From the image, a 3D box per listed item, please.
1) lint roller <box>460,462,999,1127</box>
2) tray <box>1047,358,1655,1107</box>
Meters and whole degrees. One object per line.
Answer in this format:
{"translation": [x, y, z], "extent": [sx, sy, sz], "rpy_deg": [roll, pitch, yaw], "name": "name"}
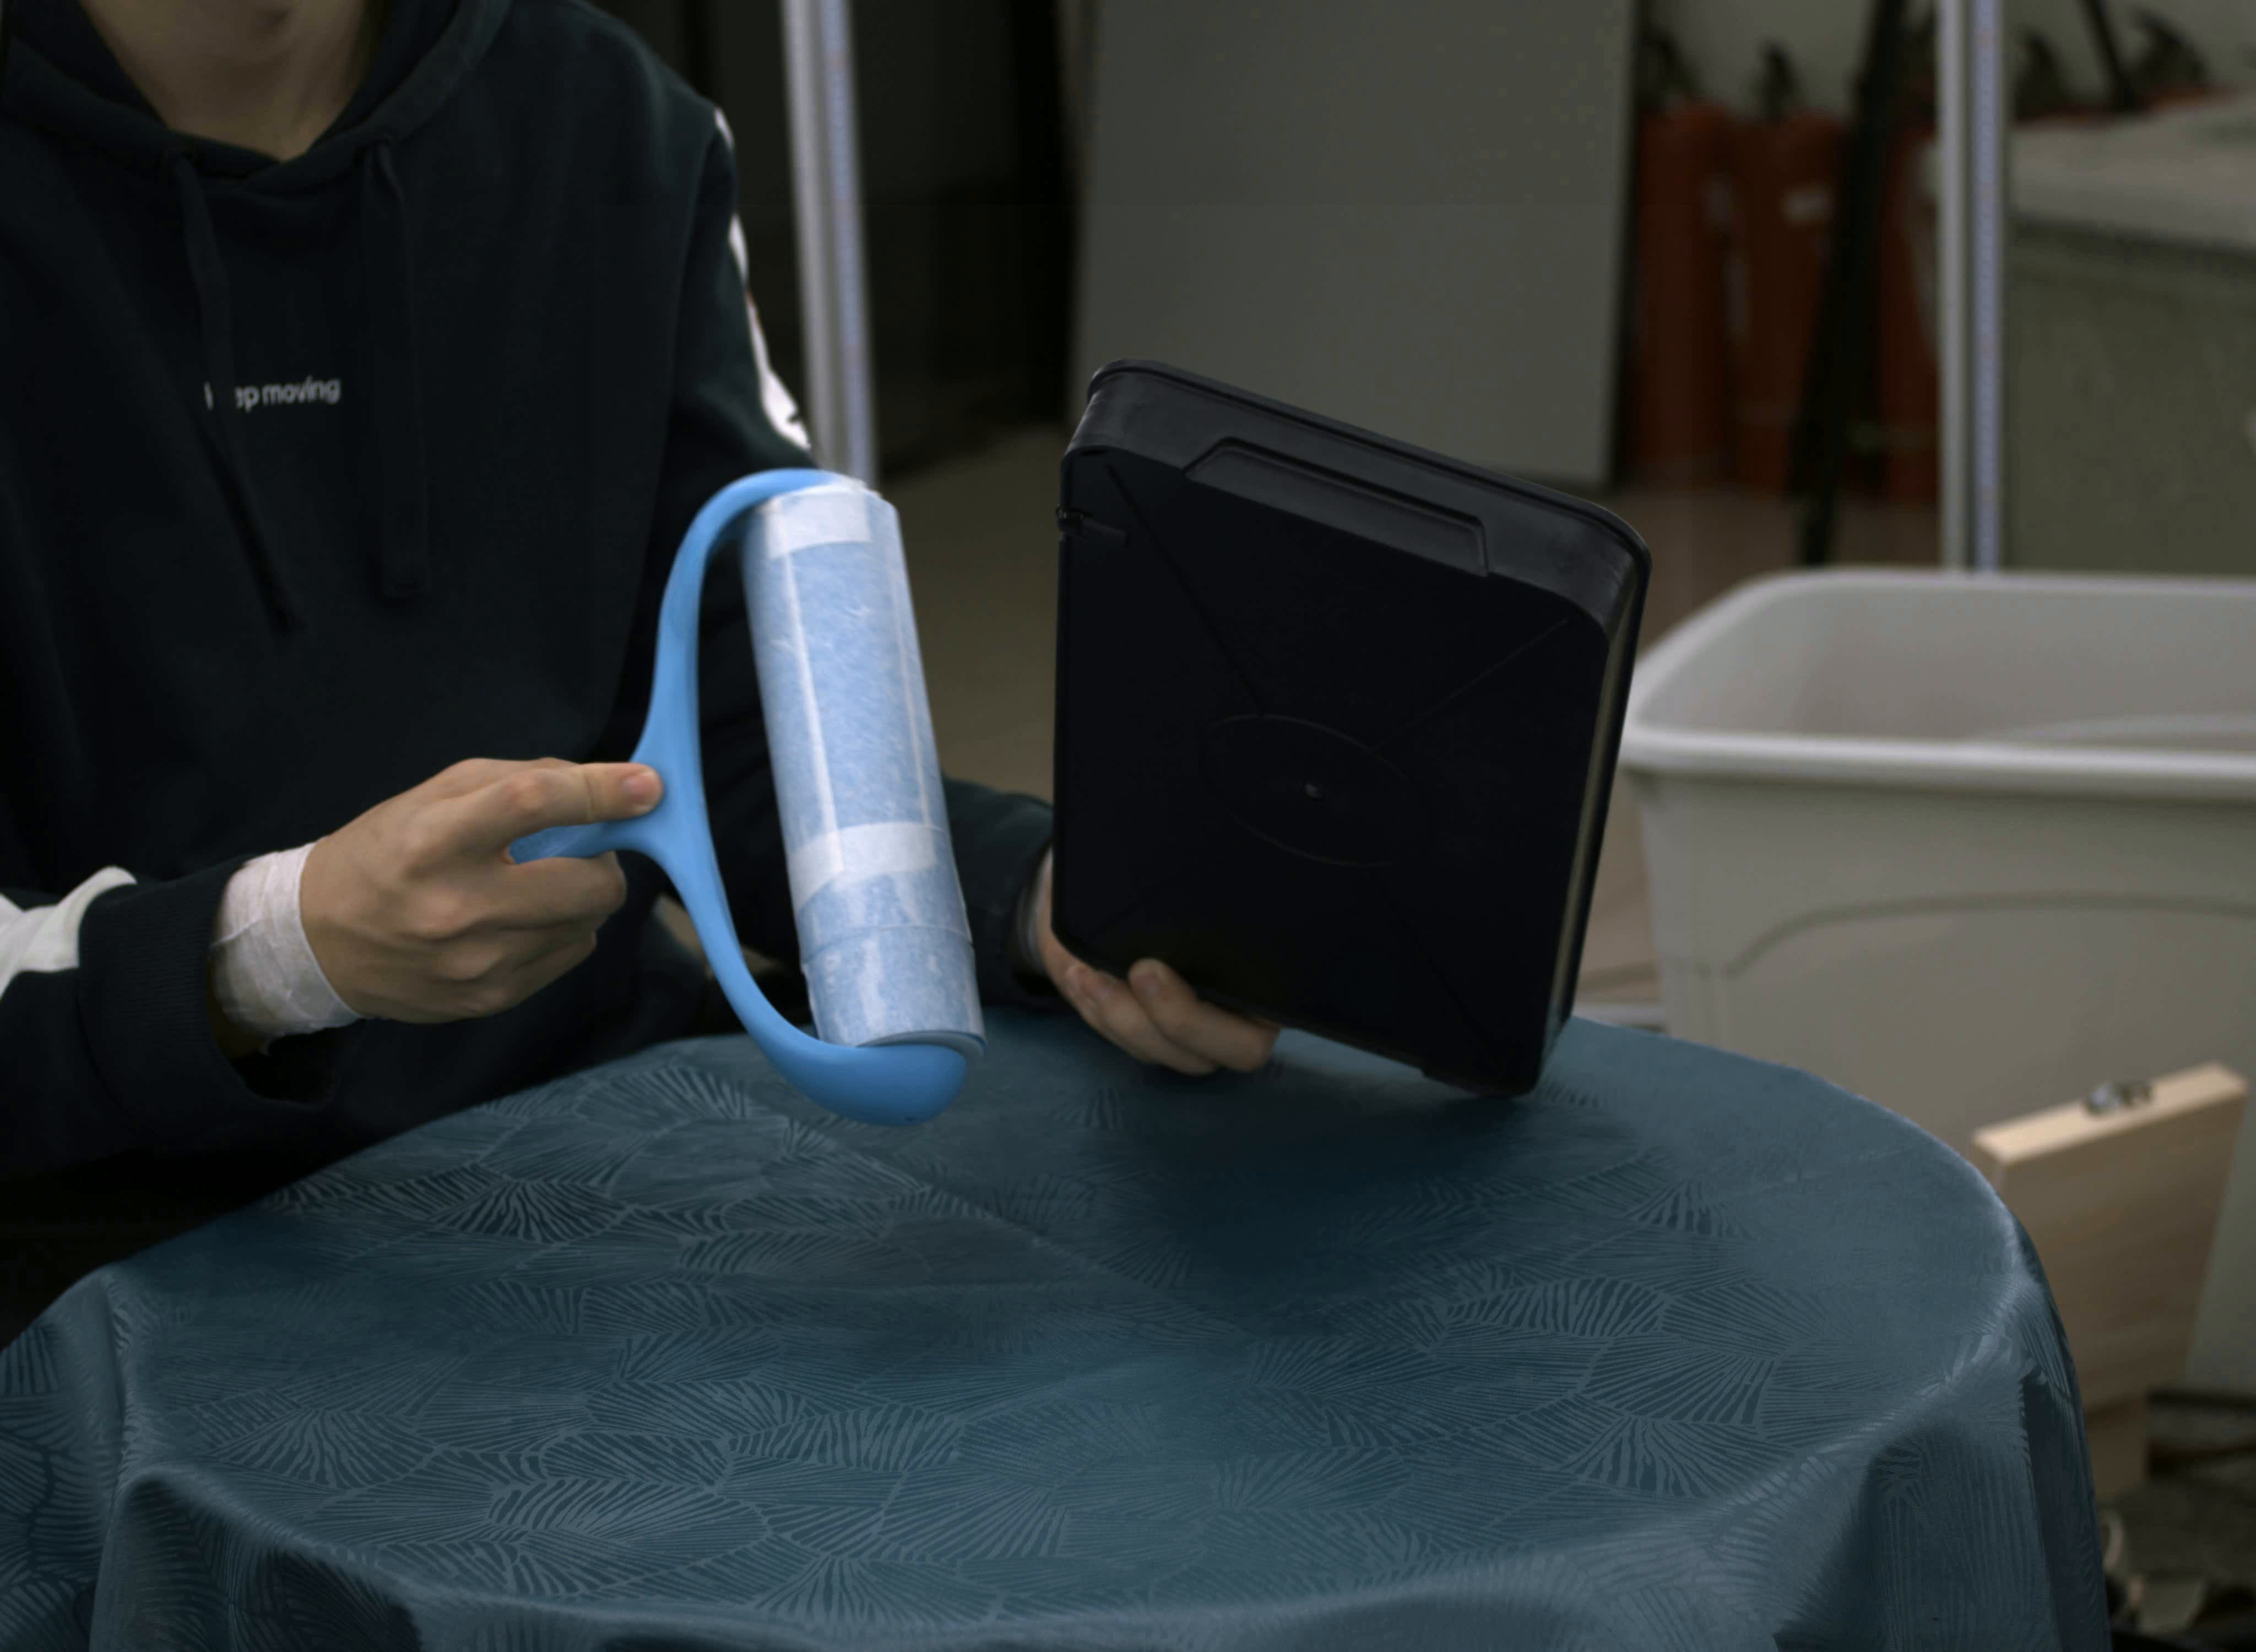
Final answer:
{"translation": [-0.138, 0.004, 1.724], "extent": [0.179, 0.232, 0.067], "rpy_deg": [-17, -25, 9], "name": "lint roller"}
{"translation": [0.064, -0.021, 1.739], "extent": [0.183, 0.319, 0.037], "rpy_deg": [19, 60, 10], "name": "tray"}
